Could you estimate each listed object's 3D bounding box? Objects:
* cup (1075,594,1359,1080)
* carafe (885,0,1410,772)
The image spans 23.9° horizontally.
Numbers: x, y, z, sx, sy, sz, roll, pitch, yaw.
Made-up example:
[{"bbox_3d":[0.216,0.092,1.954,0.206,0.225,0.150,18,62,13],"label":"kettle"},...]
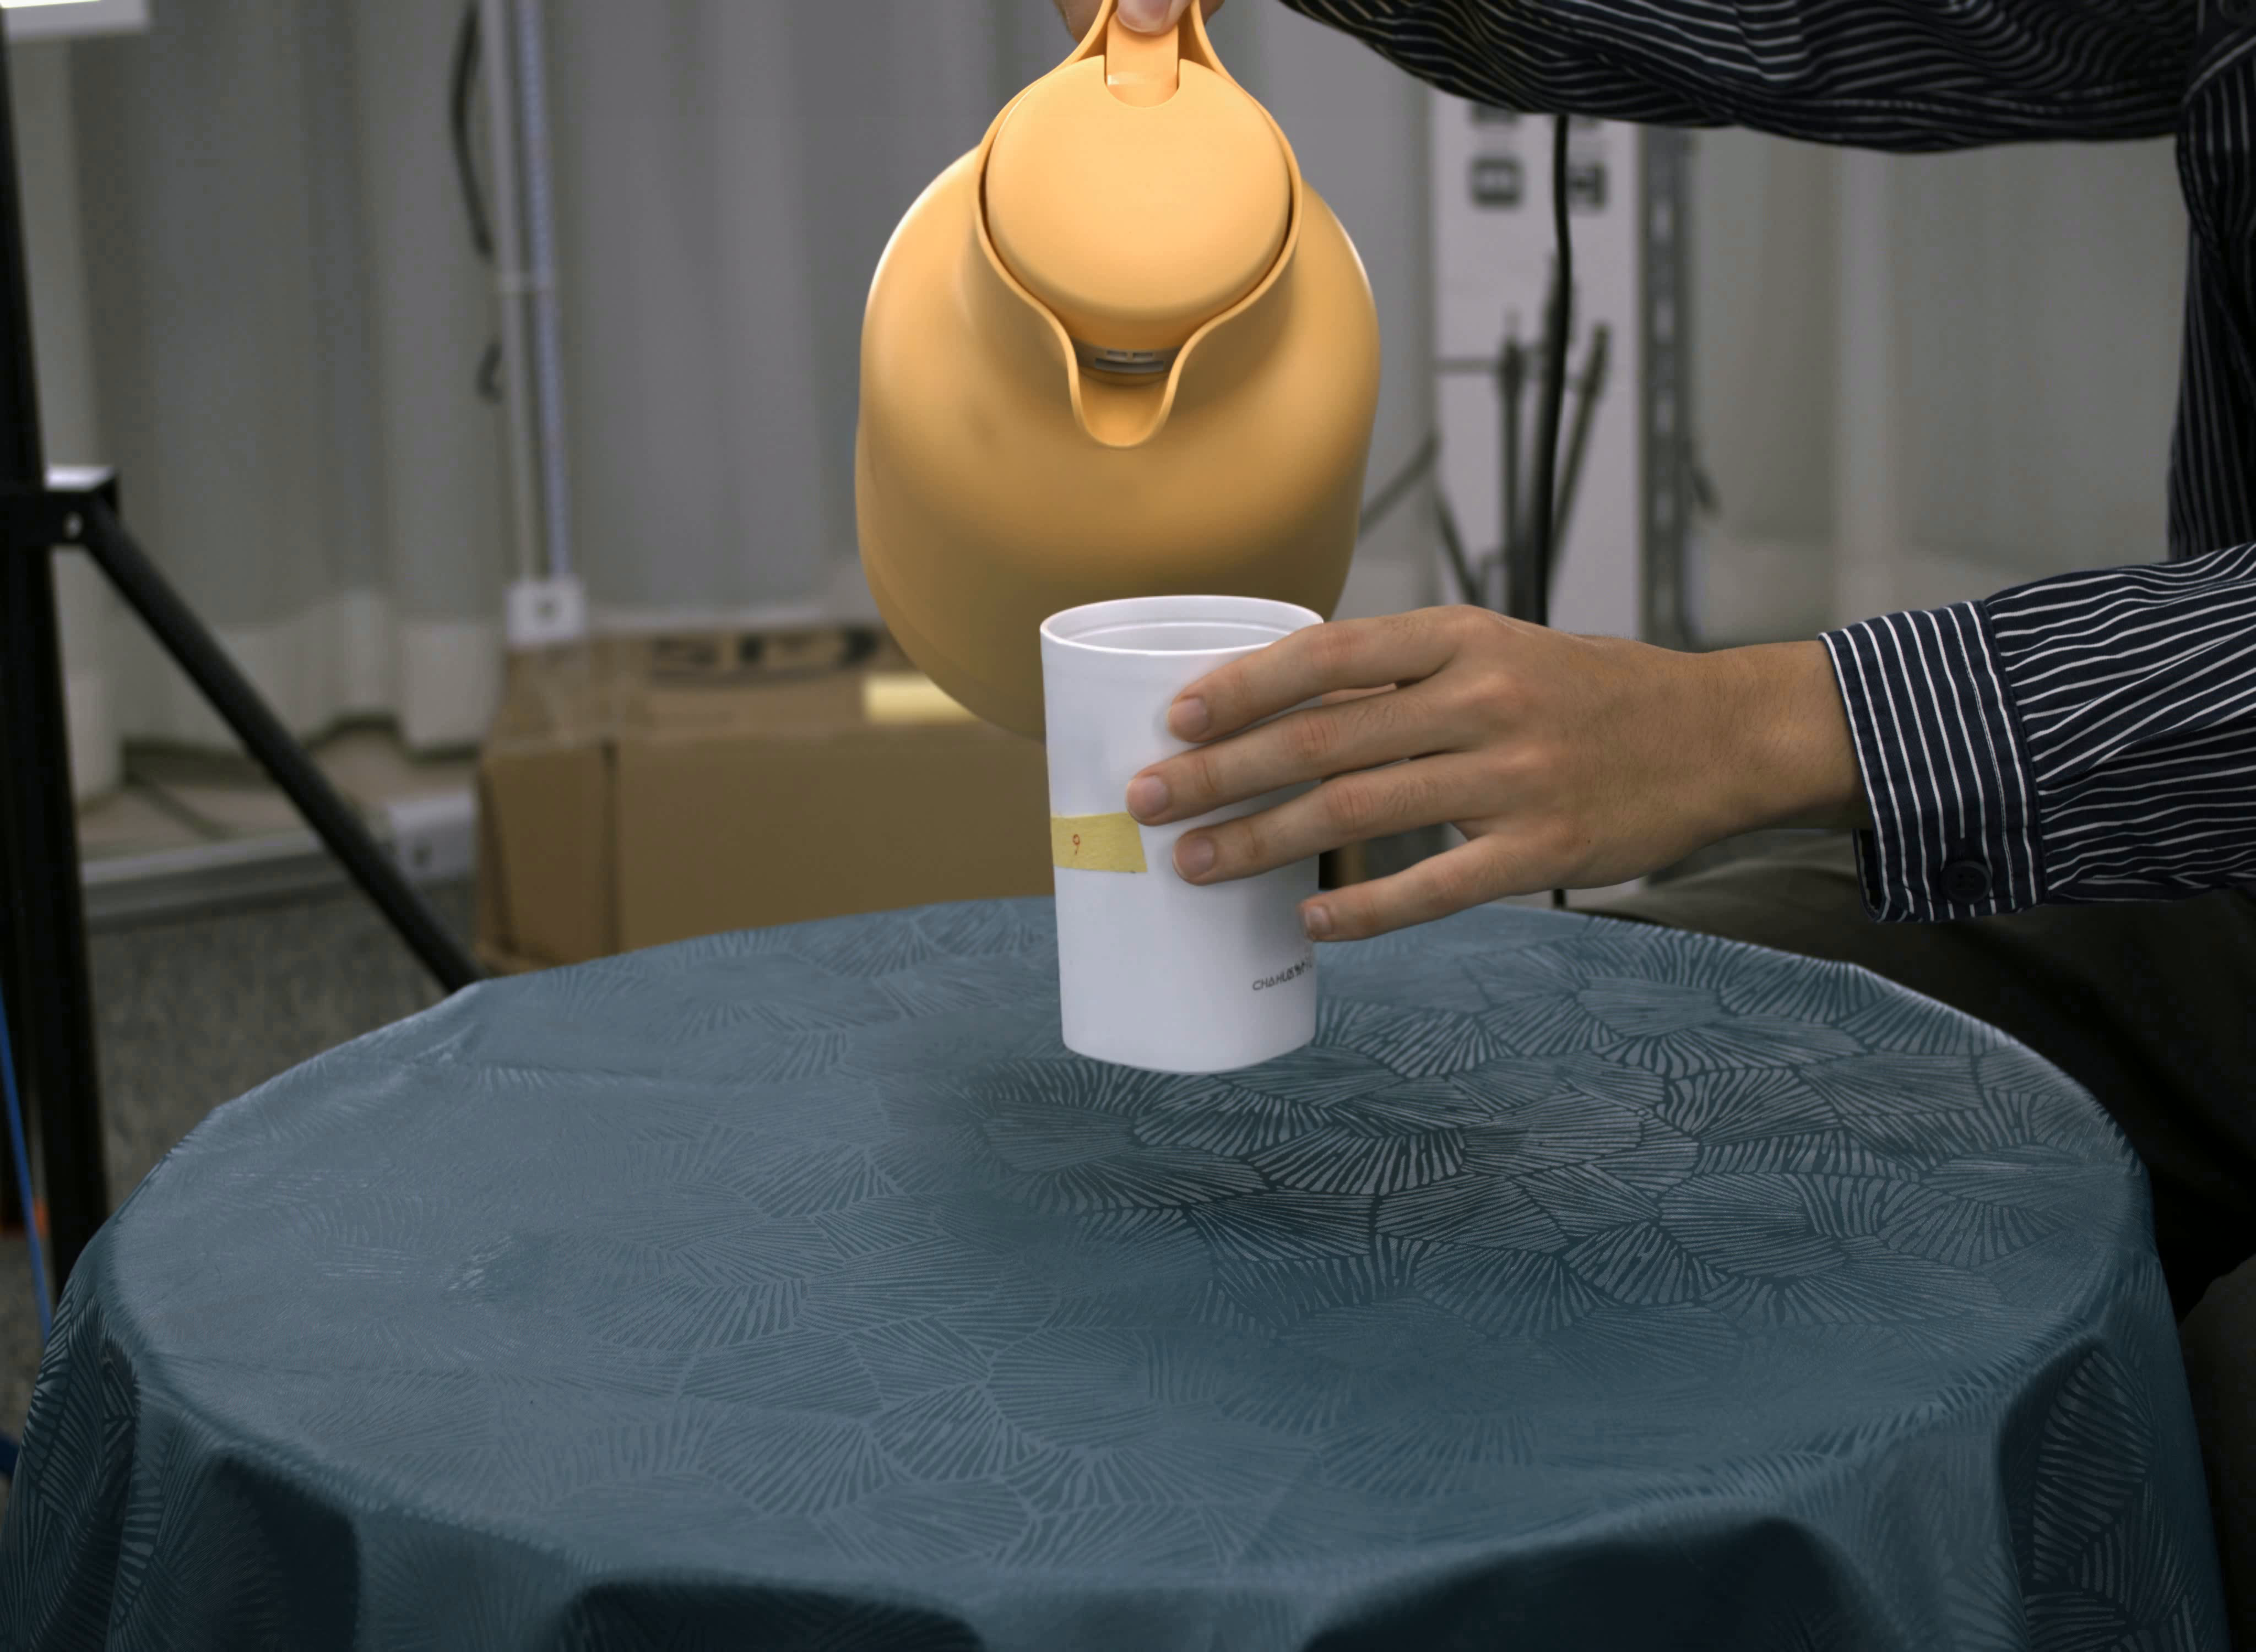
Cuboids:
[{"bbox_3d":[0.025,0.003,1.520,0.081,0.125,0.082,0,13,-1],"label":"cup"},{"bbox_3d":[0.009,-0.147,1.653,0.162,0.204,0.259,4,-22,-2],"label":"carafe"}]
